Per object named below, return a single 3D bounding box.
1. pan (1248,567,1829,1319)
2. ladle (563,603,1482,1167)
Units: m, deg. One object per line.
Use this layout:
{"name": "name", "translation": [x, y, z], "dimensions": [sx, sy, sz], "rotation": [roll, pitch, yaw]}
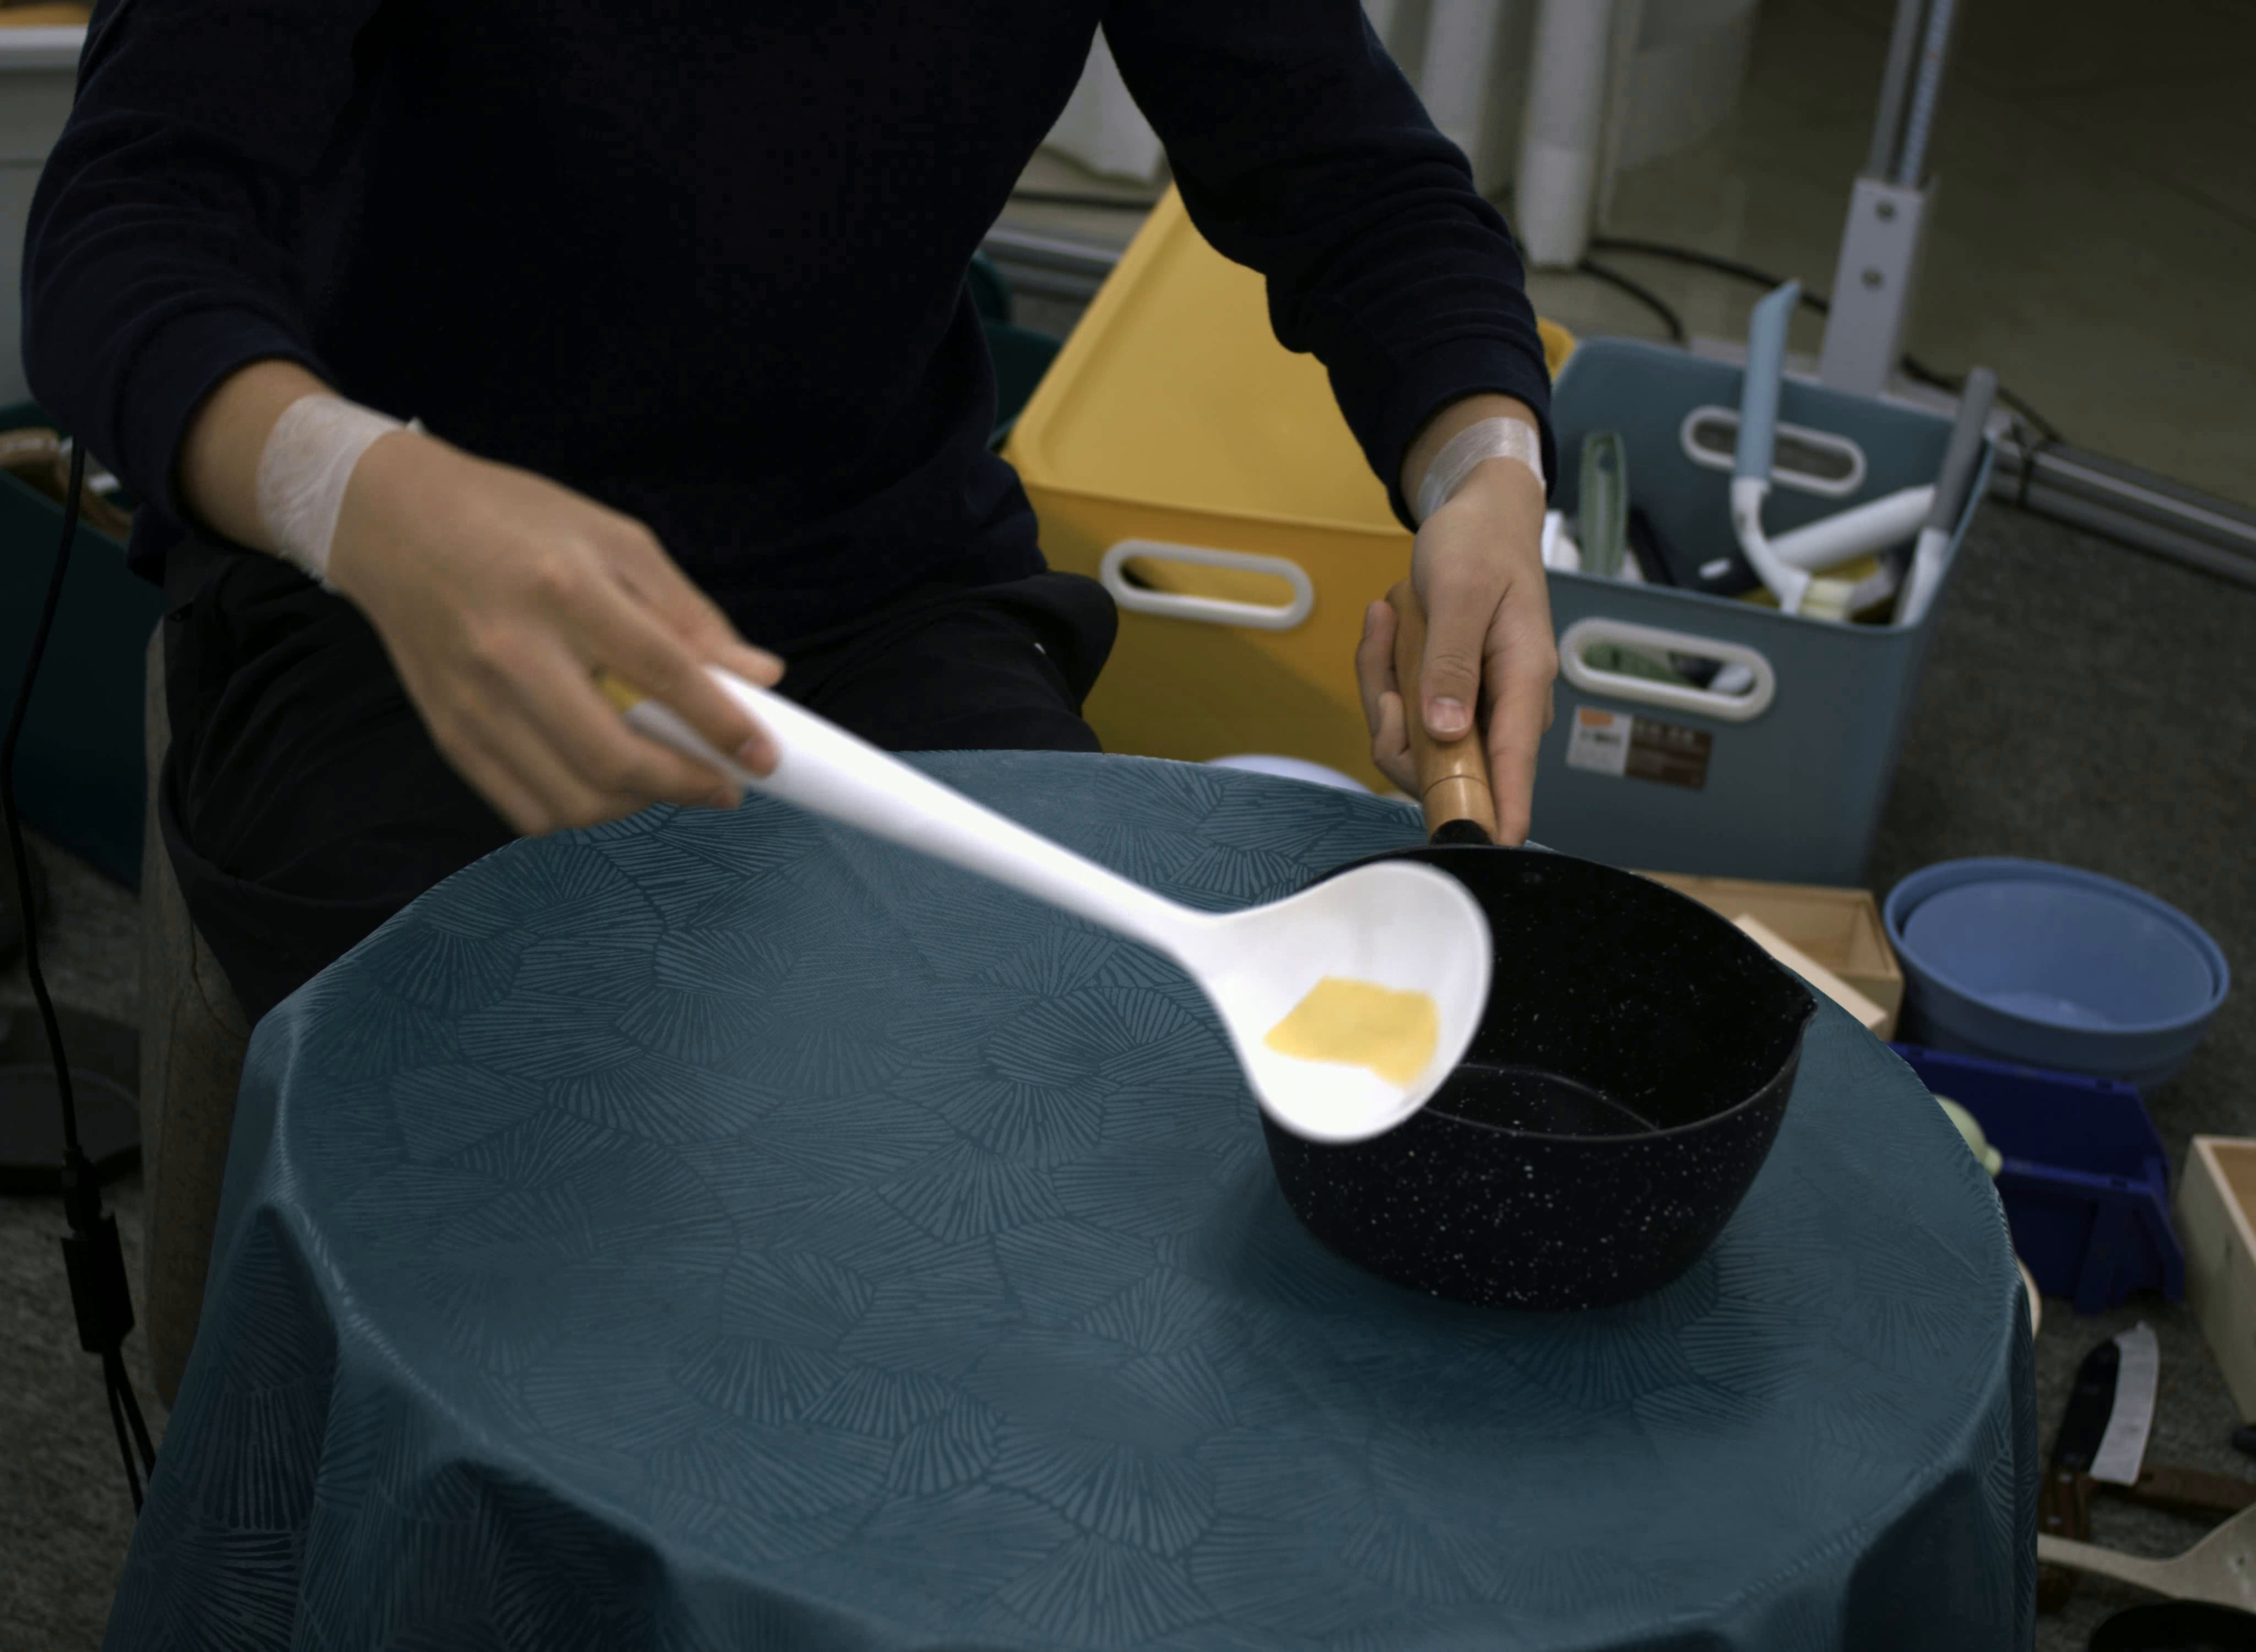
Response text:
{"name": "pan", "translation": [0.121, 0.038, 1.862], "dimensions": [0.206, 0.108, 0.345], "rotation": [1, 32, -9]}
{"name": "ladle", "translation": [-0.034, 0.009, 1.606], "dimensions": [0.292, 0.090, 0.070], "rotation": [26, -4, -4]}
